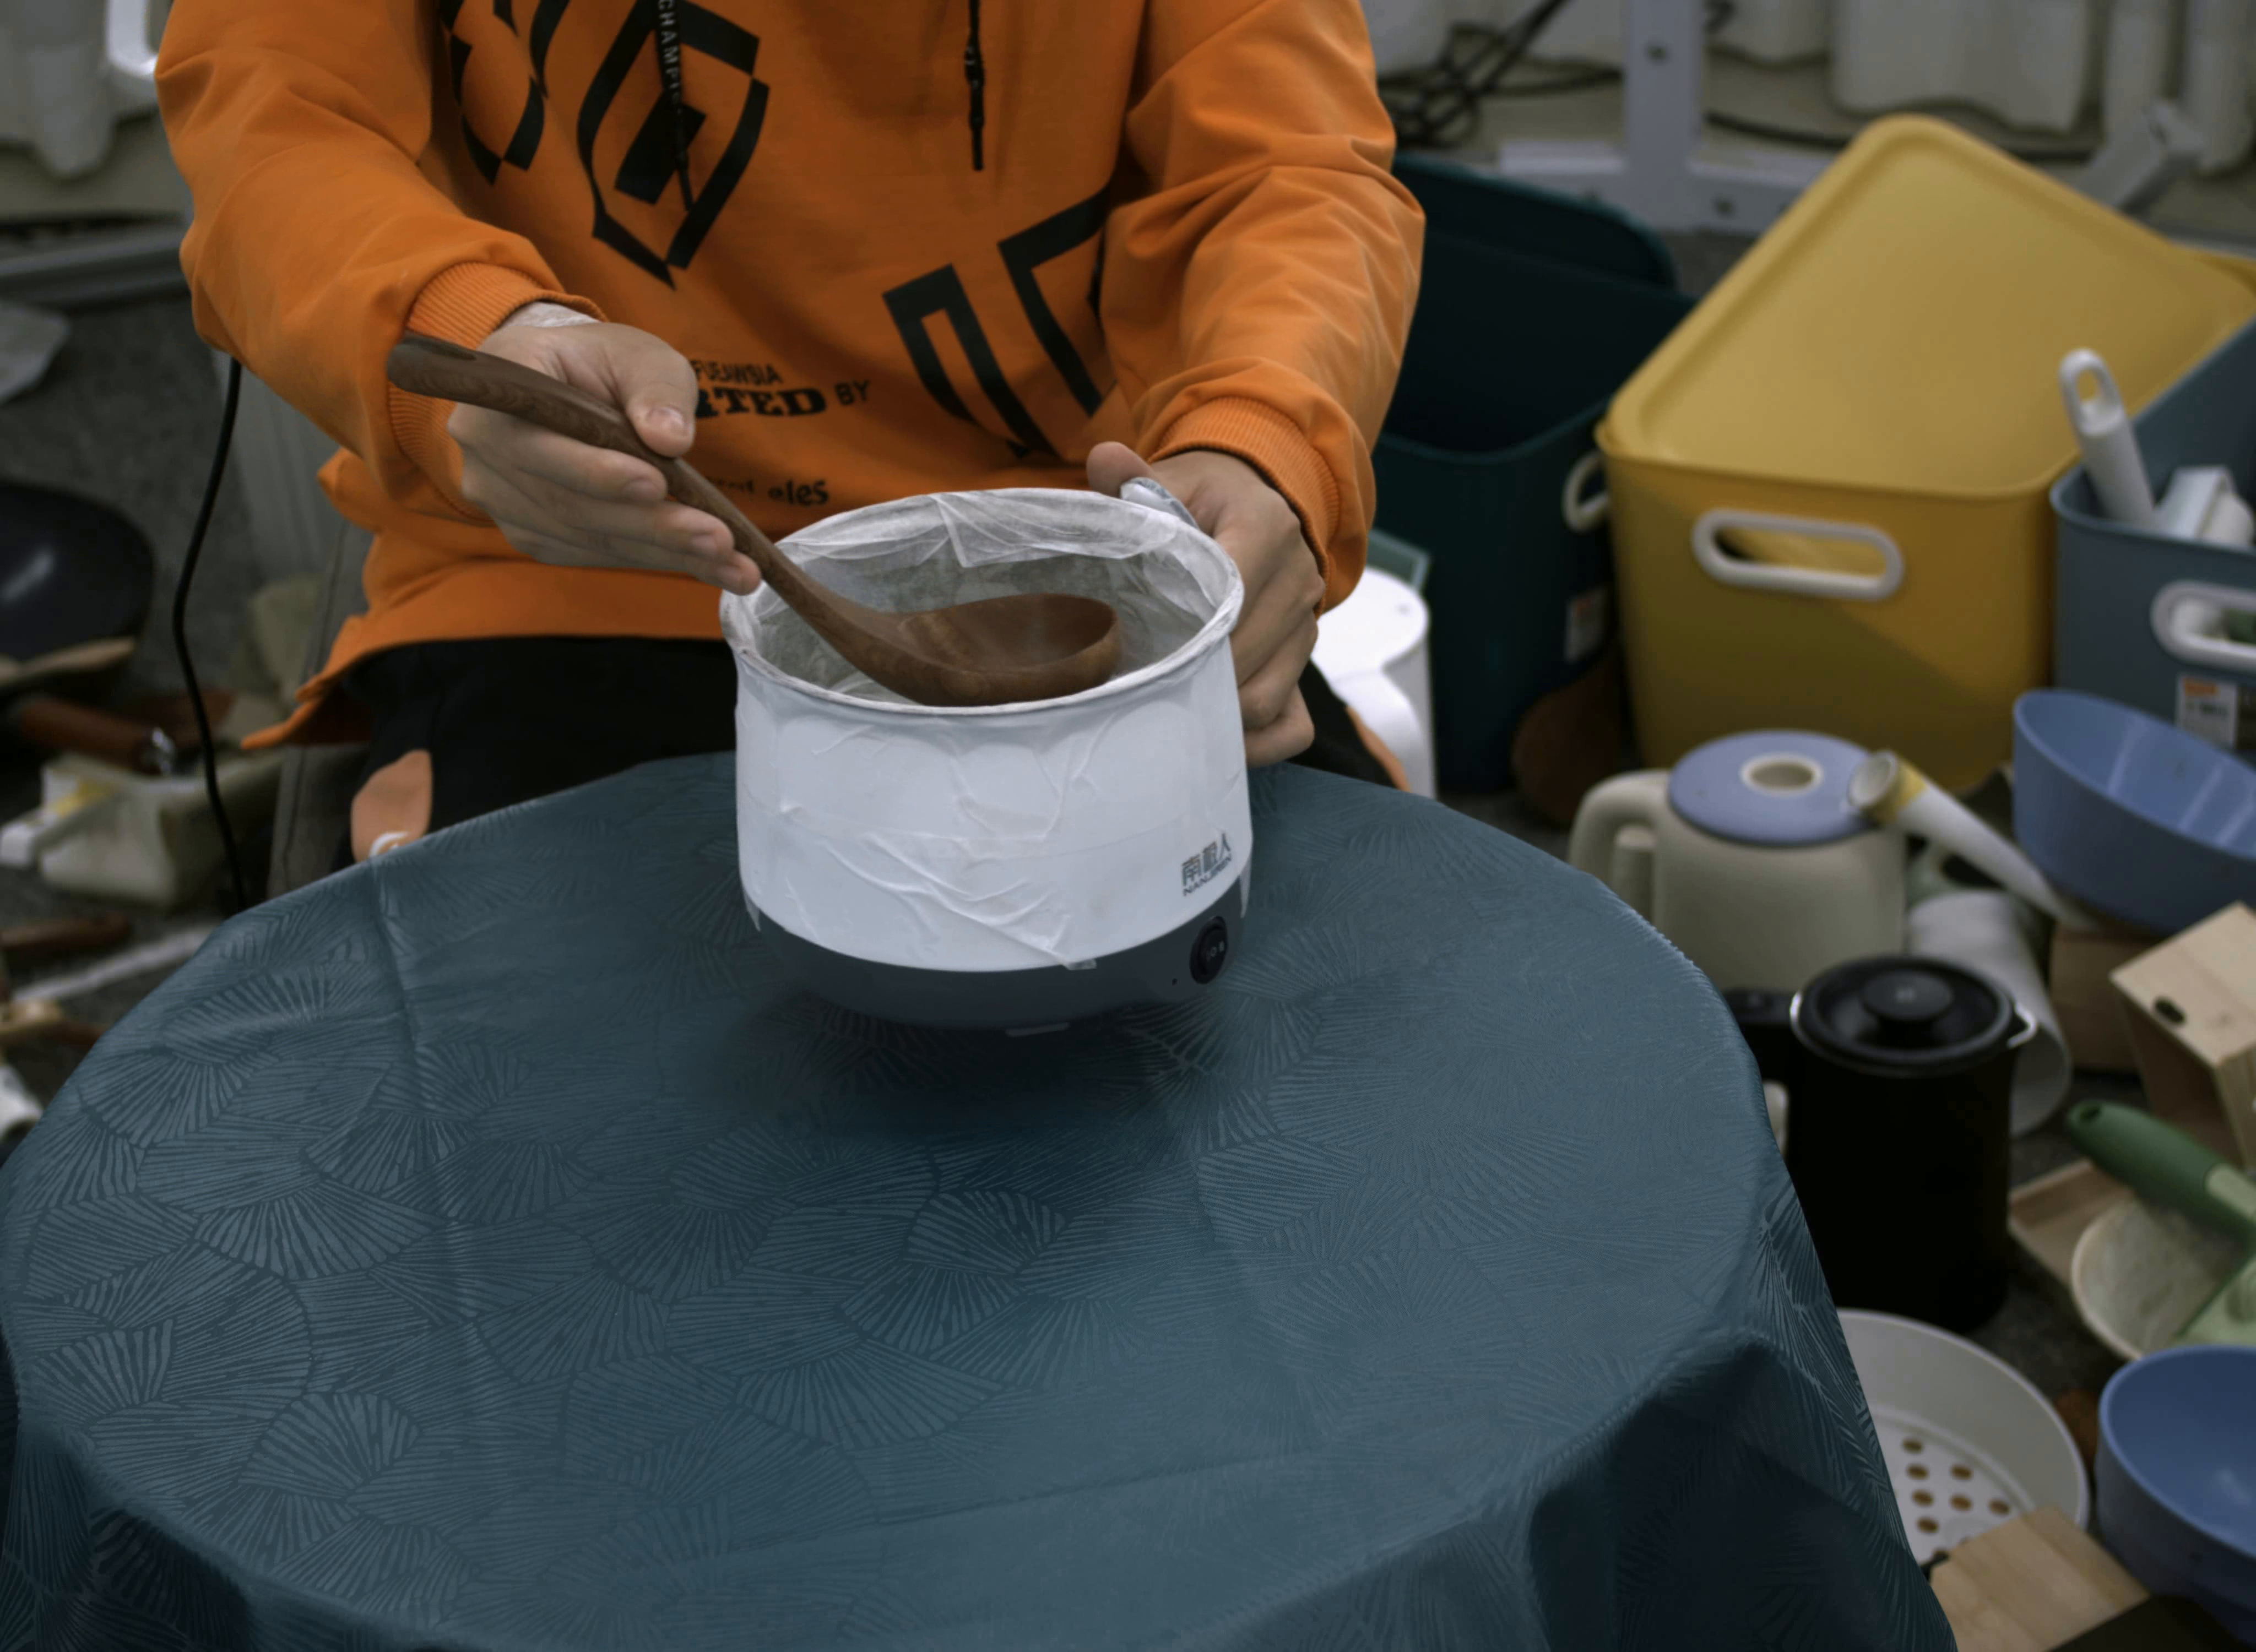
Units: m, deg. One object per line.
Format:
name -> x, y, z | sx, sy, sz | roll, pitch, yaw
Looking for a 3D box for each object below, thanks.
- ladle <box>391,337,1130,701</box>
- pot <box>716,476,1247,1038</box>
ladle -> -0.116, -0.107, 1.840 | 0.259, 0.065, 0.077 | 32, 8, -16
pot -> -0.034, -0.033, 1.938 | 0.178, 0.135, 0.237 | 14, 31, 28
